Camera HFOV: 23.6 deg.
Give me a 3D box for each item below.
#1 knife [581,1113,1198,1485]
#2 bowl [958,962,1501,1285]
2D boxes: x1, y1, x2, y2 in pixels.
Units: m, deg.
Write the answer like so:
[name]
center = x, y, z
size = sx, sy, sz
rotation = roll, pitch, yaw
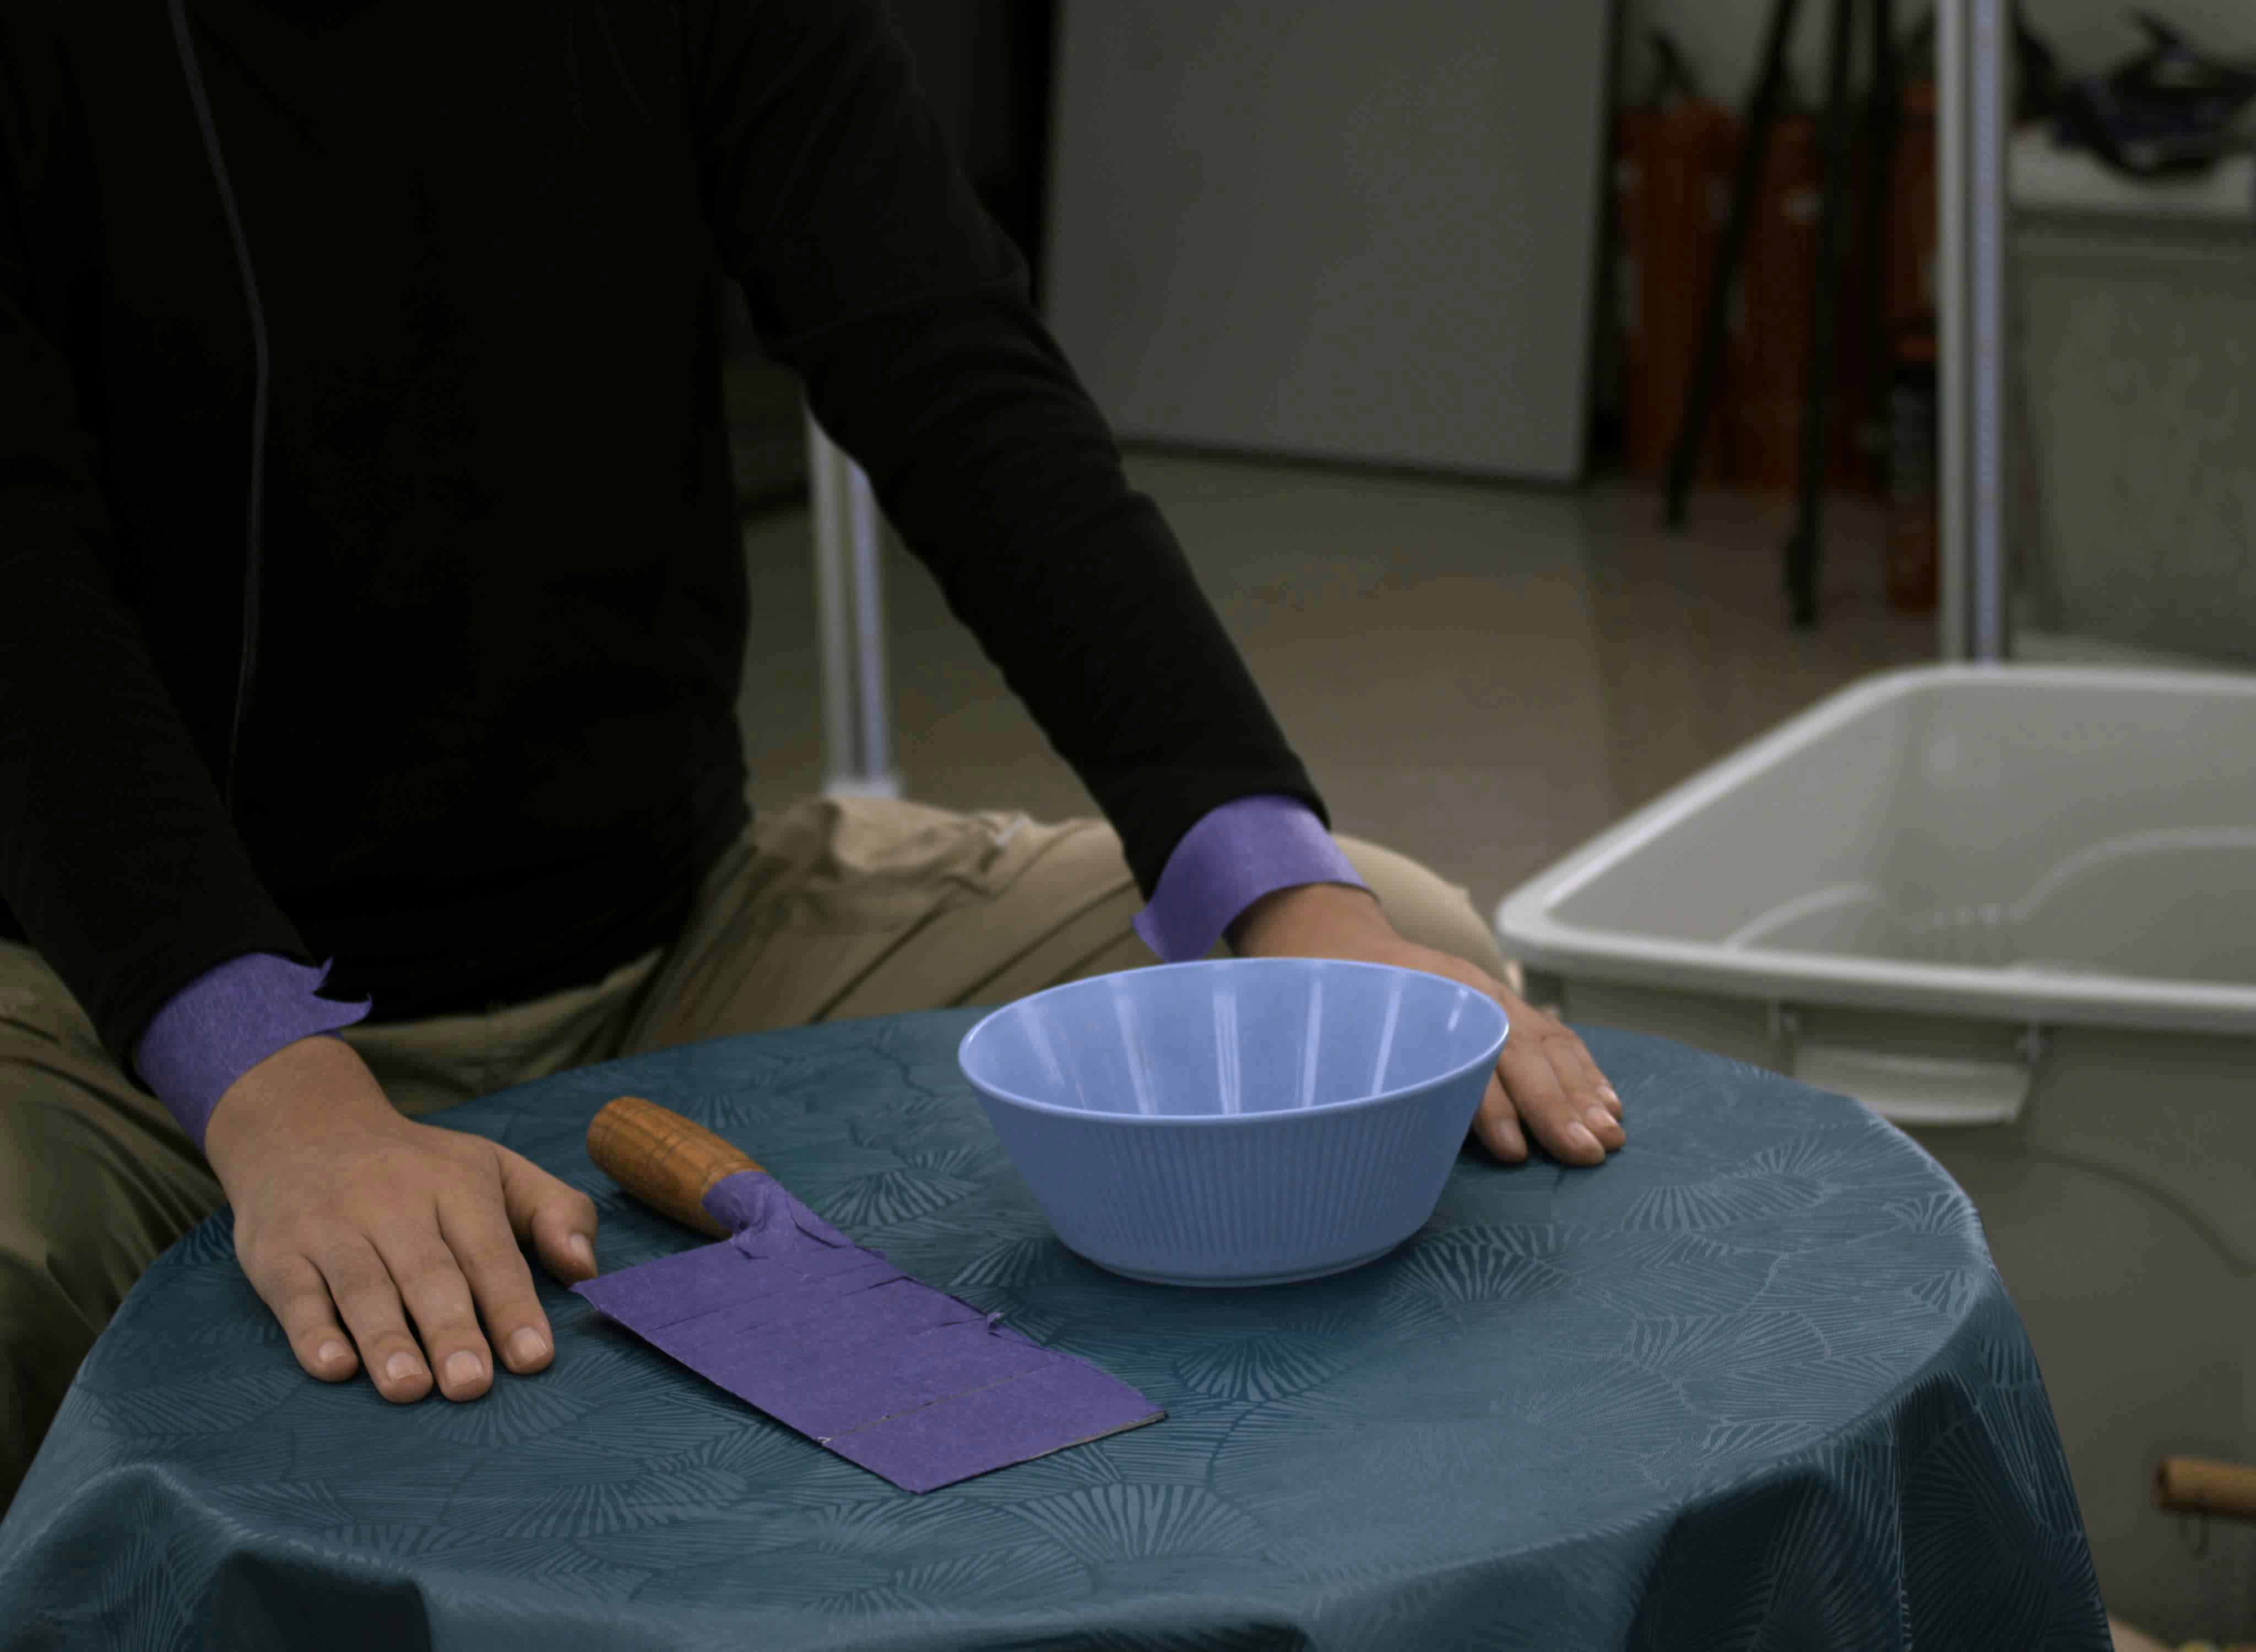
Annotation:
[knife]
center = -0.107, 0.143, 1.665
size = 0.101, 0.032, 0.318
rotation = -13, 17, -32
[bowl]
center = 0.034, 0.097, 1.713
size = 0.174, 0.071, 0.176
rotation = -4, 13, 0
